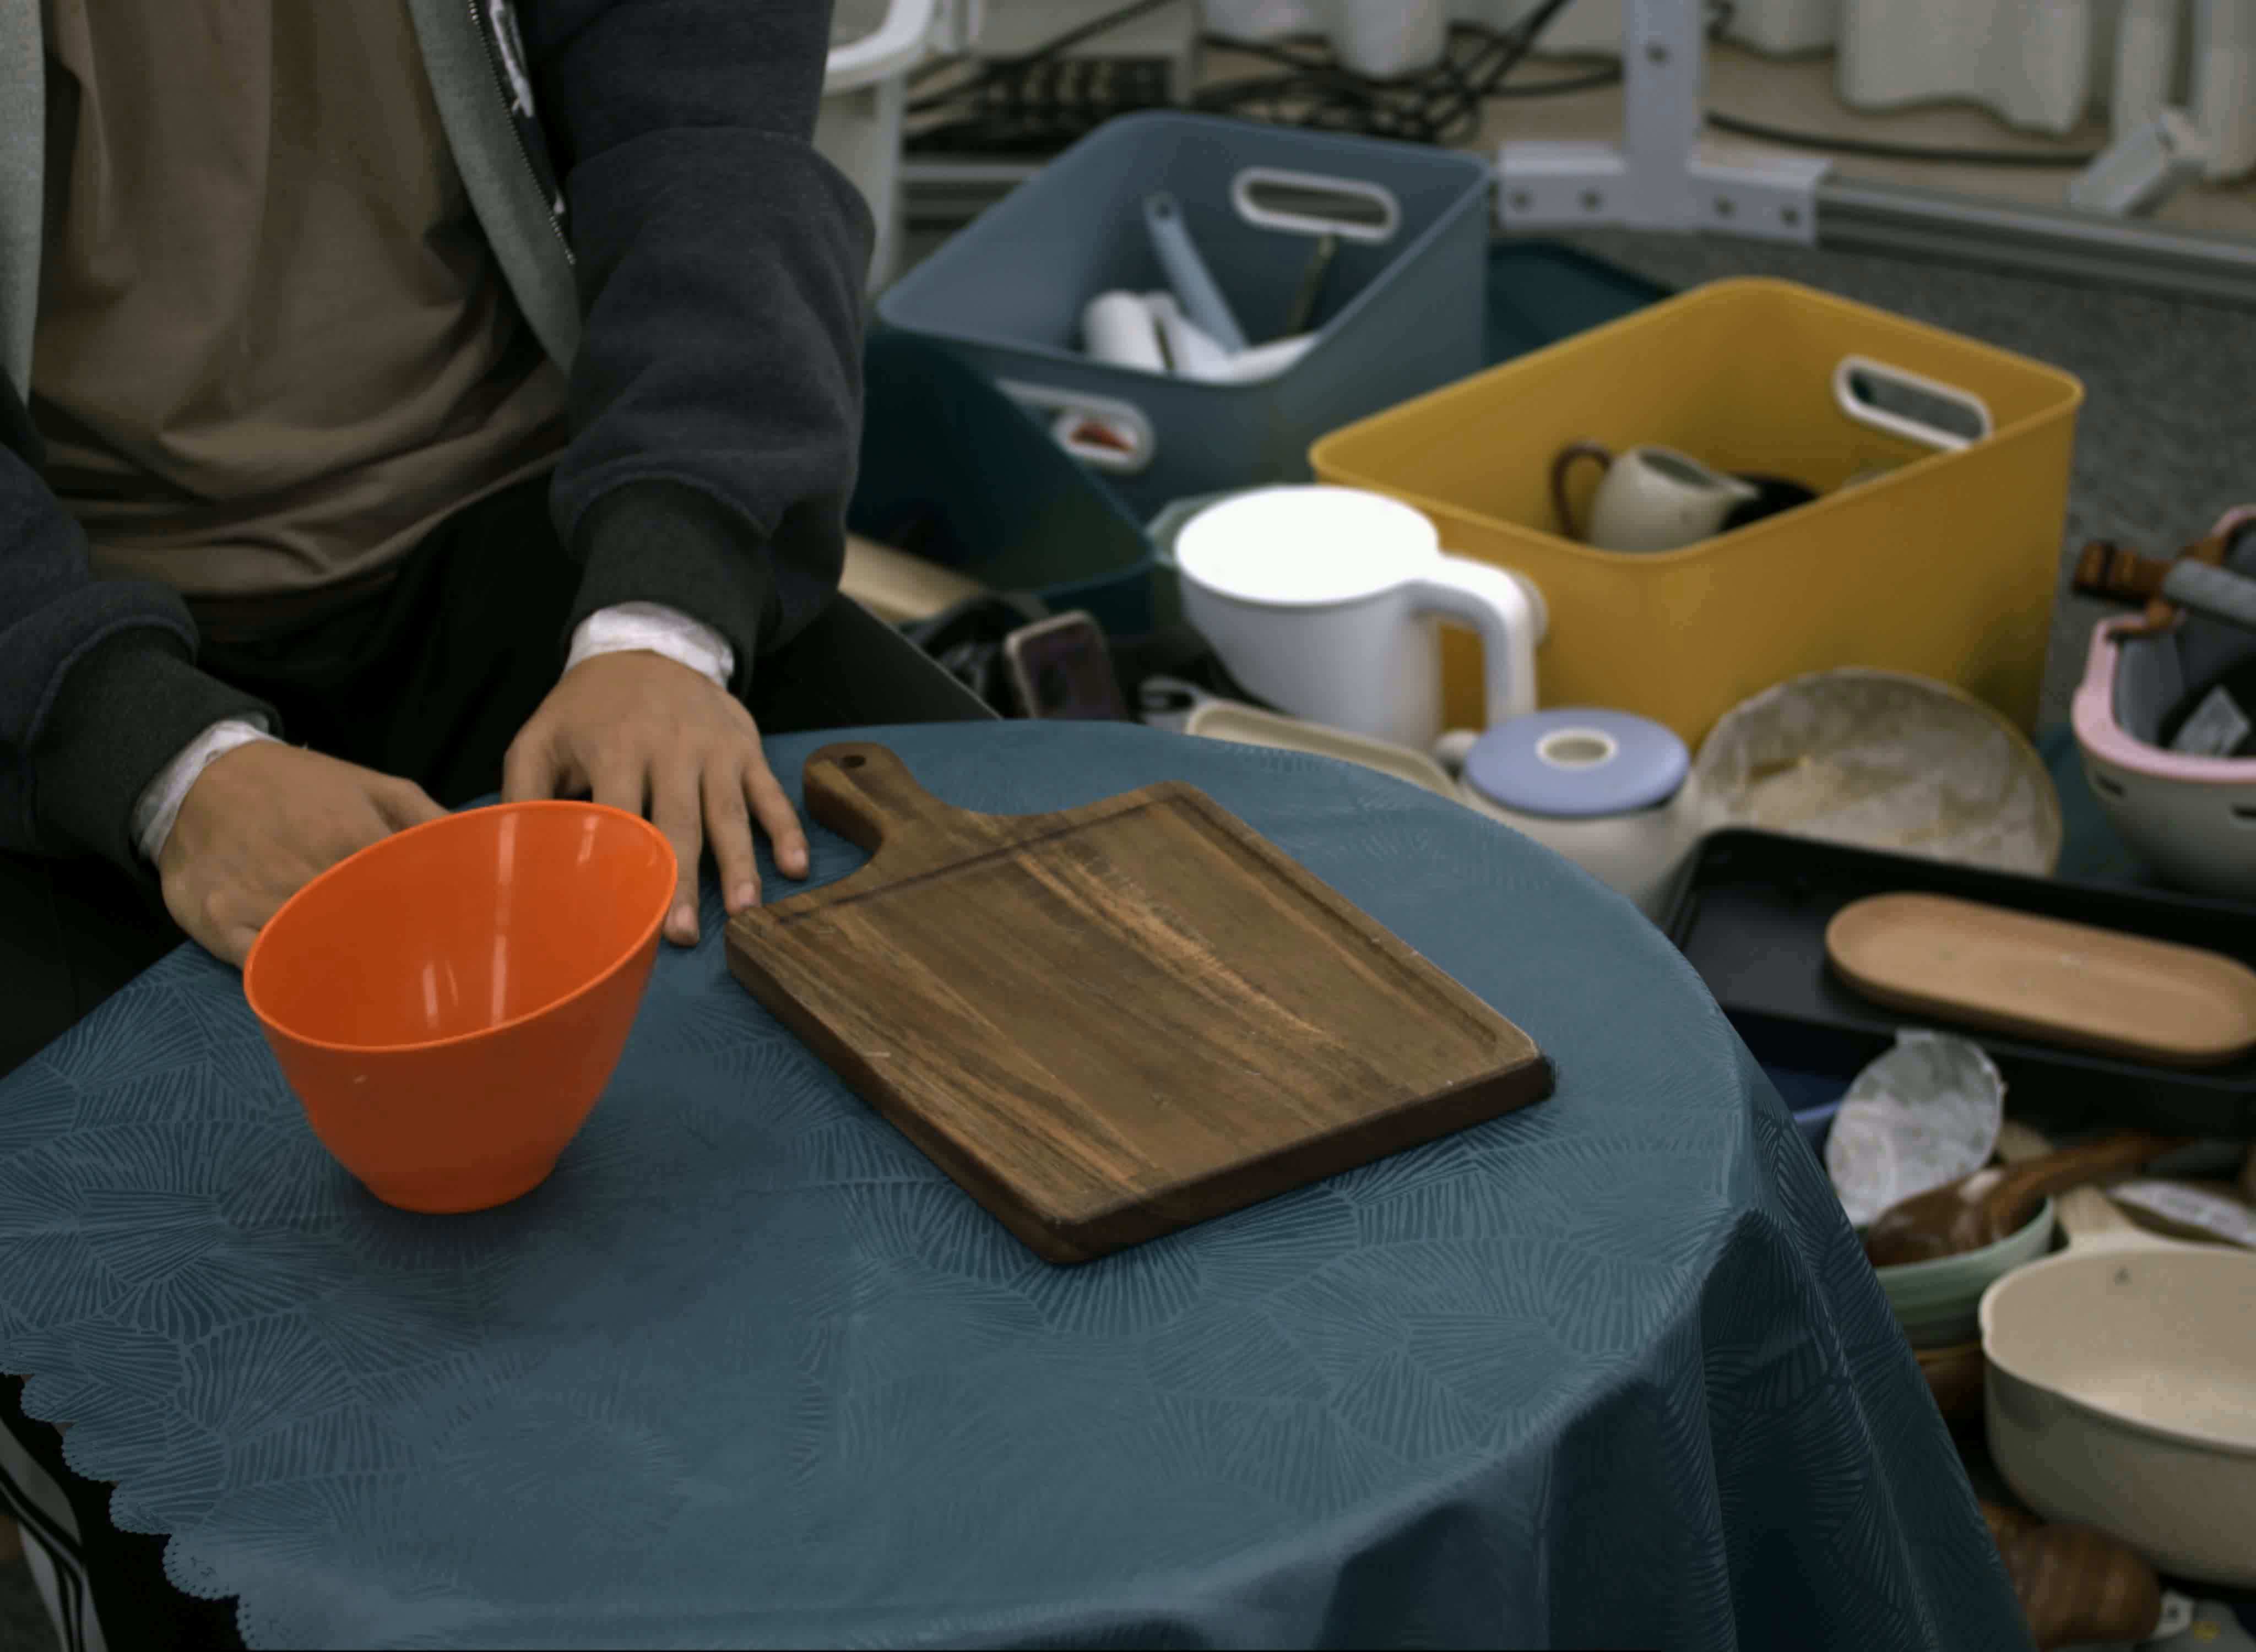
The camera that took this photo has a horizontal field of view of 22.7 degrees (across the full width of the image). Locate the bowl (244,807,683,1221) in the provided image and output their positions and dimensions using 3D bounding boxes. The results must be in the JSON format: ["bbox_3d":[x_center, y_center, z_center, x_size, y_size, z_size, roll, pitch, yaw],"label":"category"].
[{"bbox_3d":[-0.218,0.070,1.877,0.147,0.103,0.150,-2,27,1],"label":"bowl"}]

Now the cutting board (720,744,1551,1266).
[{"bbox_3d":[-0.026,0.044,1.992,0.202,0.023,0.353,-17,30,-25],"label":"cutting board"}]
